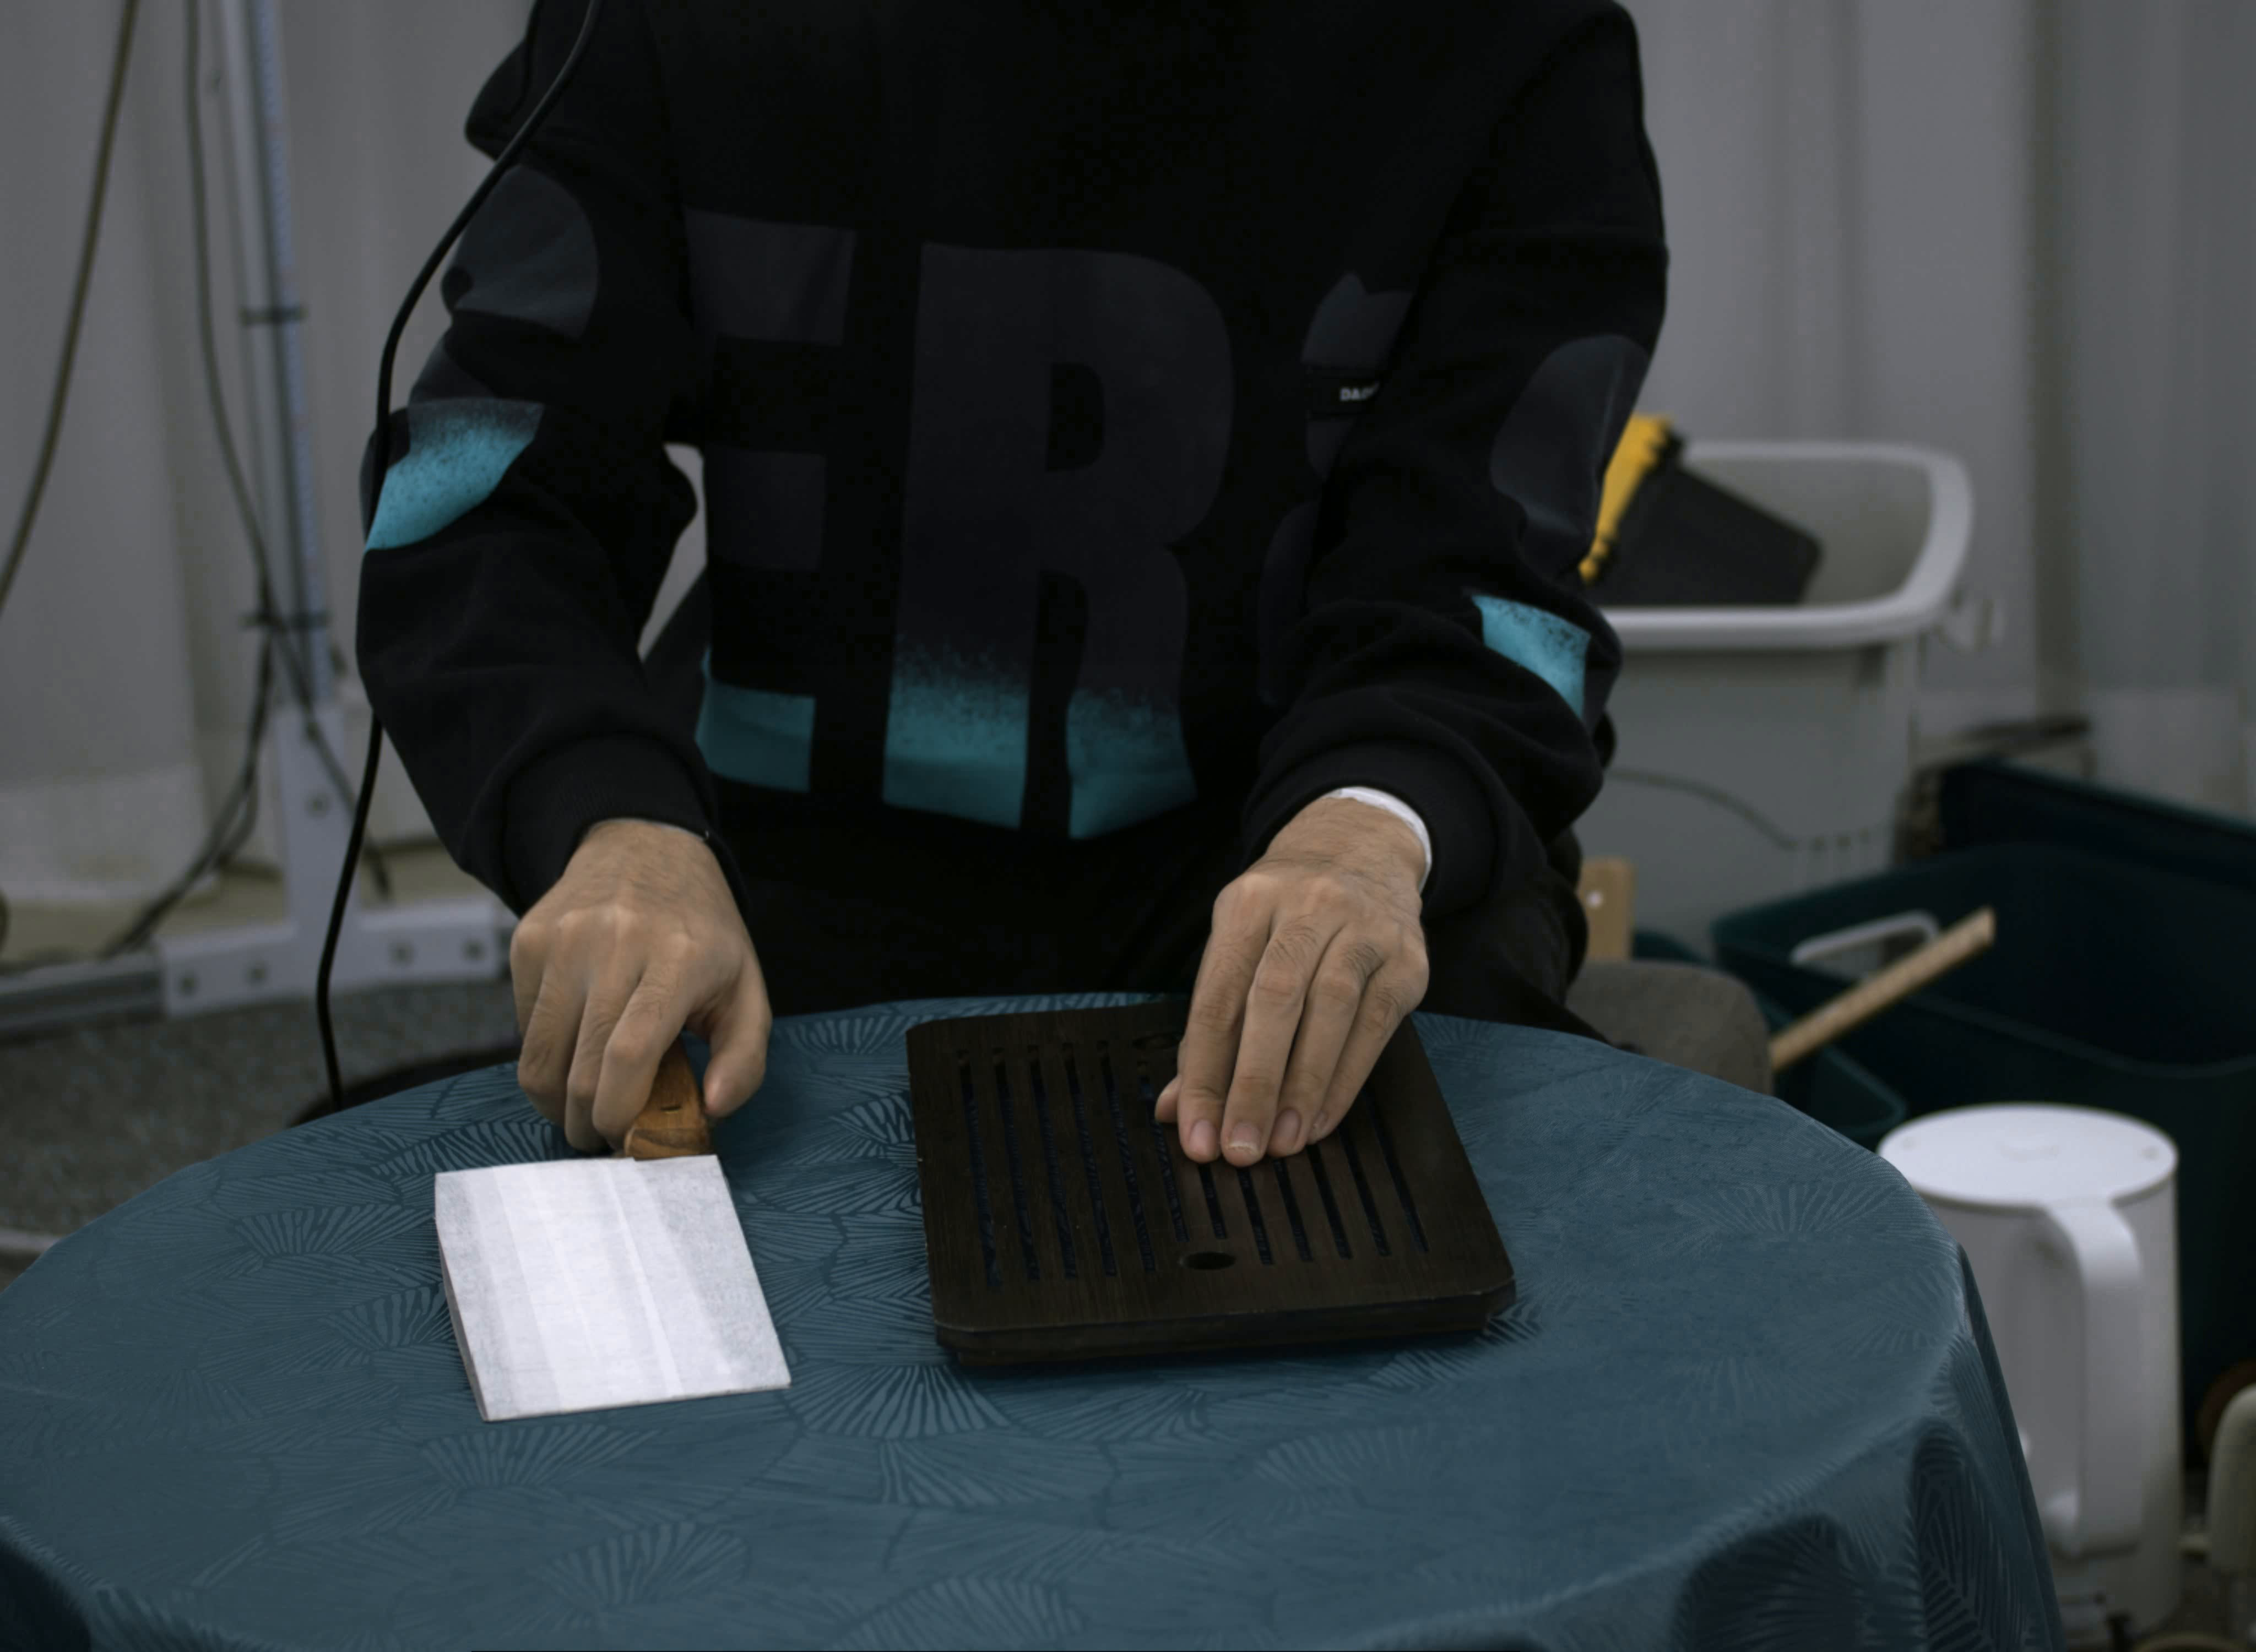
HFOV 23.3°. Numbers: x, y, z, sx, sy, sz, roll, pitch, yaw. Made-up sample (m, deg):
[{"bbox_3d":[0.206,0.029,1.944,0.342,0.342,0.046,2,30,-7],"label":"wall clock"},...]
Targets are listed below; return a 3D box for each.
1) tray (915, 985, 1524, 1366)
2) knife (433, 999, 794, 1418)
[{"bbox_3d":[0.021,0.106,1.707,0.169,0.018,0.308,-4,15,-2],"label":"tray"},{"bbox_3d":[-0.167,0.117,1.696,0.092,0.021,0.309,-6,19,-10],"label":"knife"}]
